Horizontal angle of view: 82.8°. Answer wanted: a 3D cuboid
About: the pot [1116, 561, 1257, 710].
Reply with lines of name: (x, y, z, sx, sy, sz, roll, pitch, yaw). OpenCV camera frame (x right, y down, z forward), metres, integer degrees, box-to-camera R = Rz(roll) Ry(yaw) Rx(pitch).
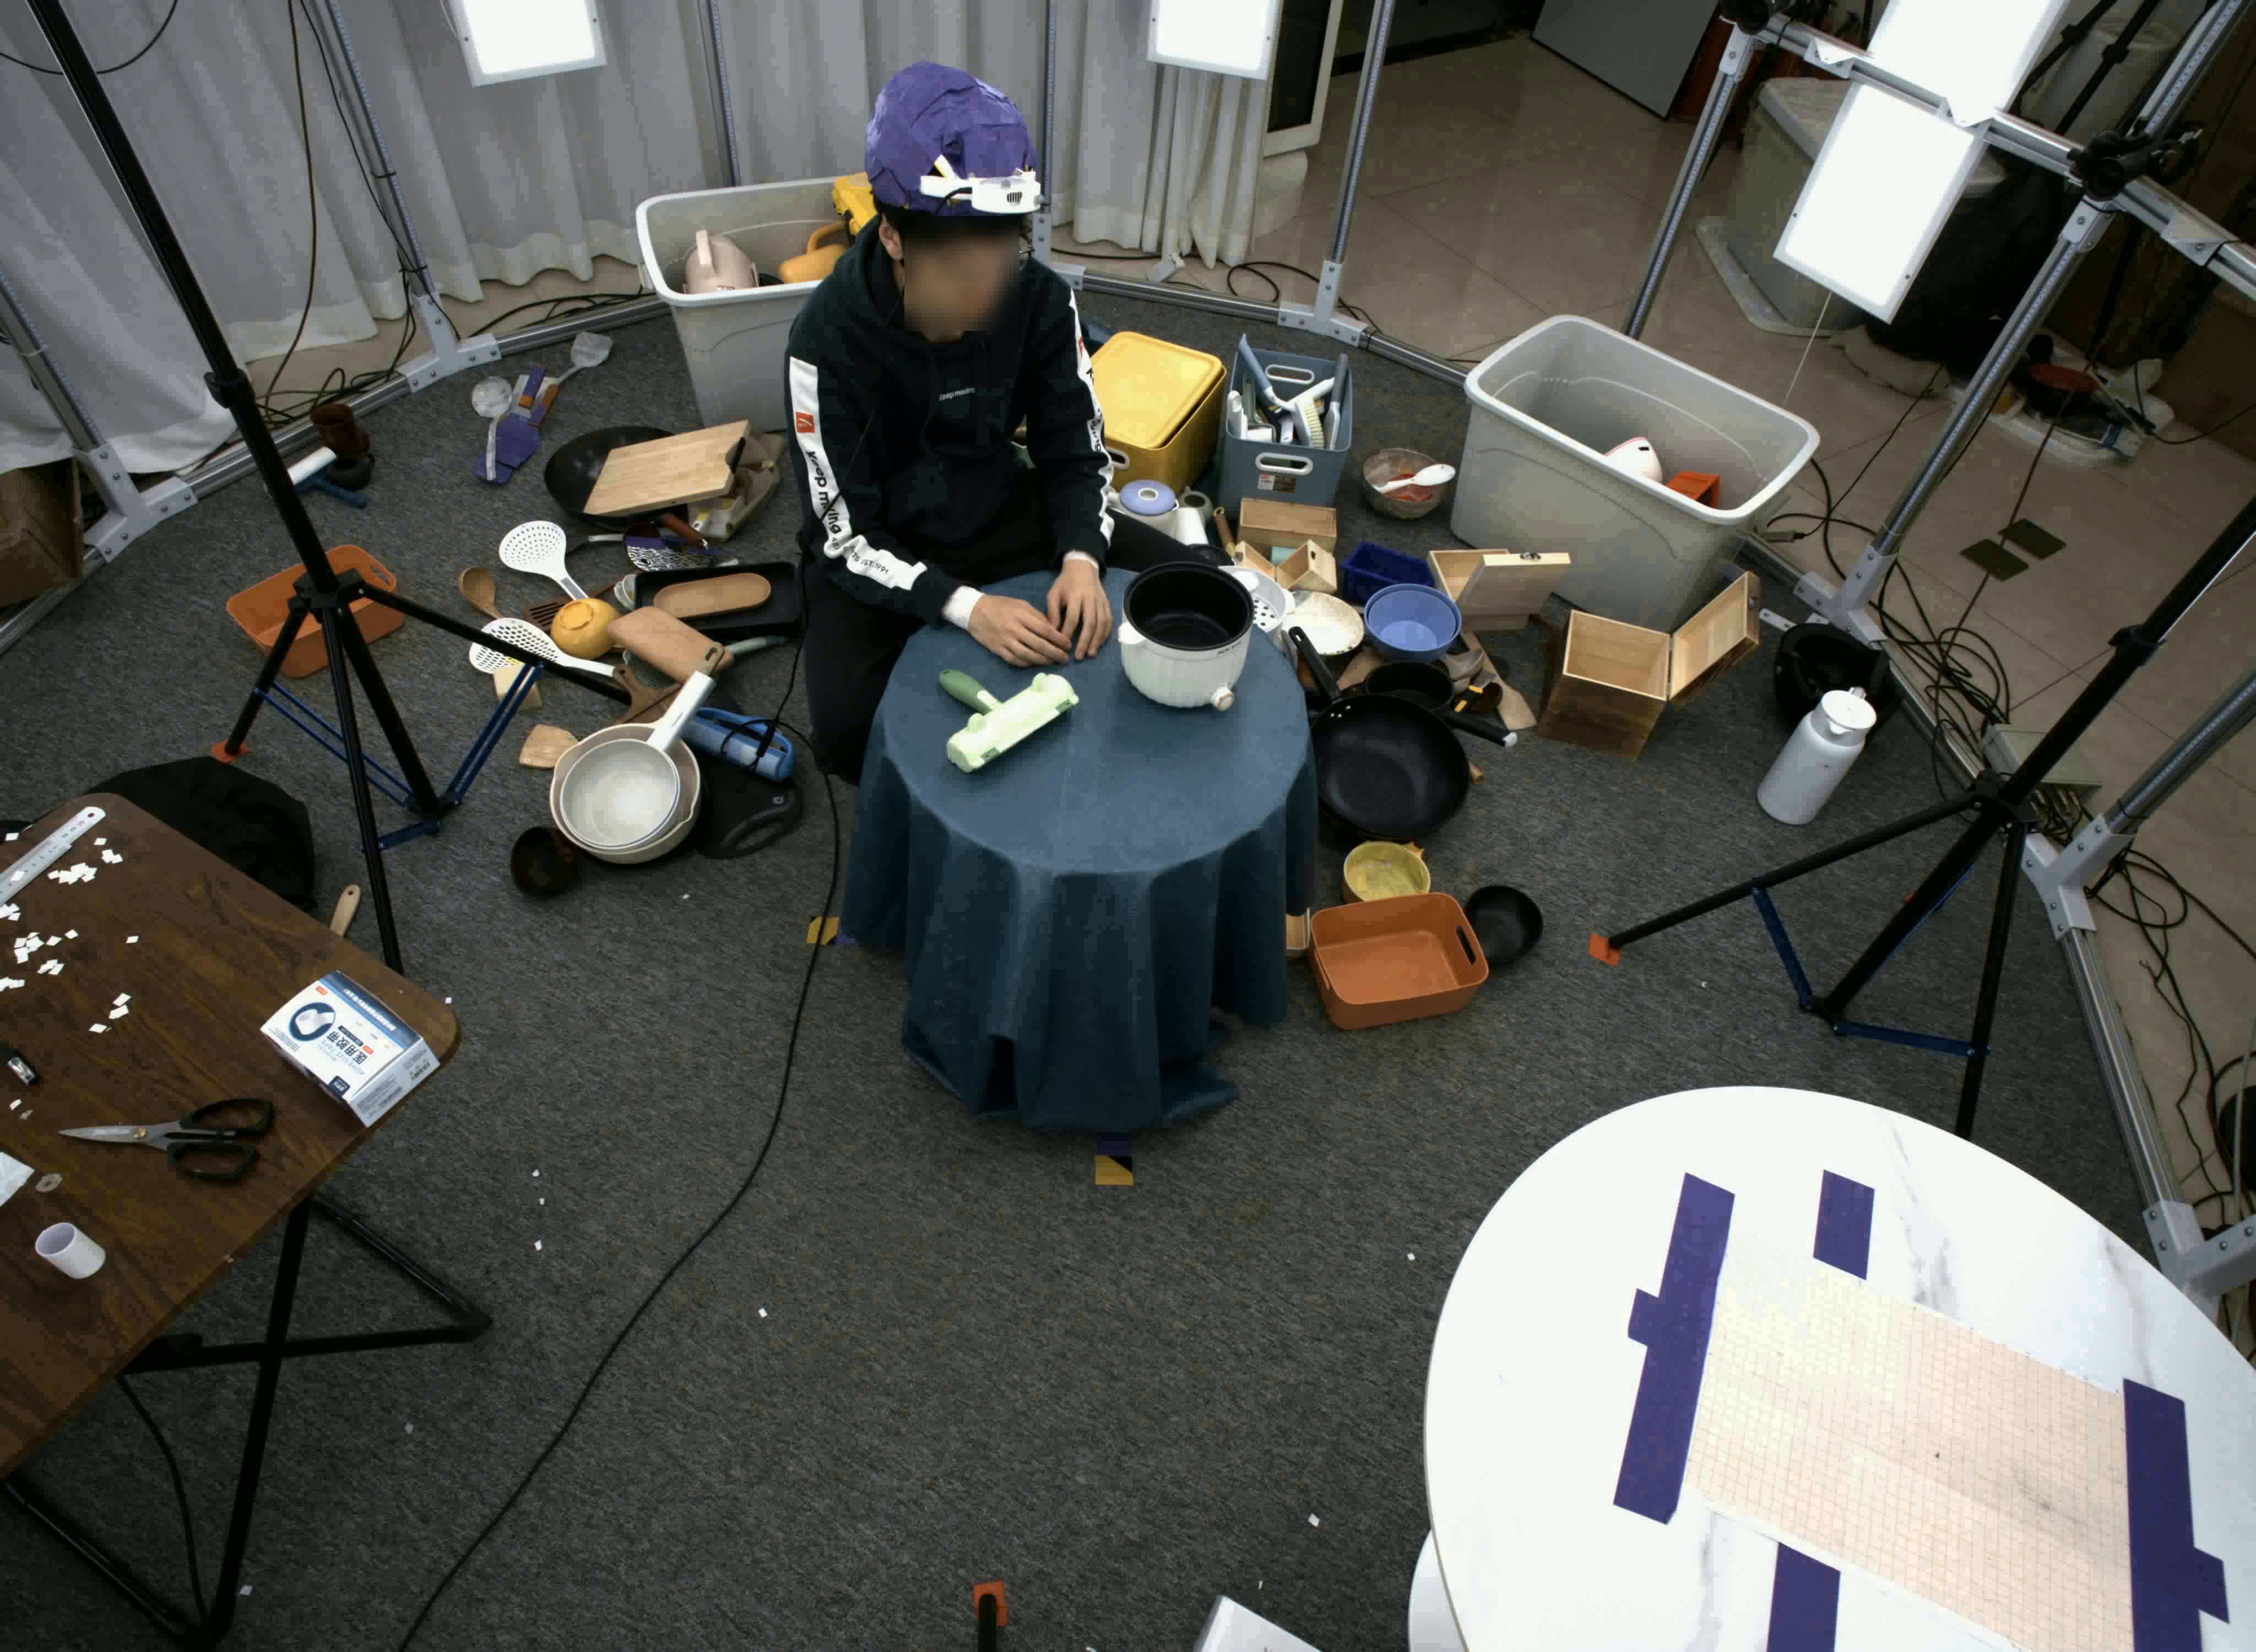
pot: (0.084, -0.260, 1.810, 0.242, 0.139, 0.194, -29, 54, -24)

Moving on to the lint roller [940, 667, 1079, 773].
lint roller: (-0.196, -0.180, 1.763, 0.200, 0.080, 0.186, -36, 65, -29)
